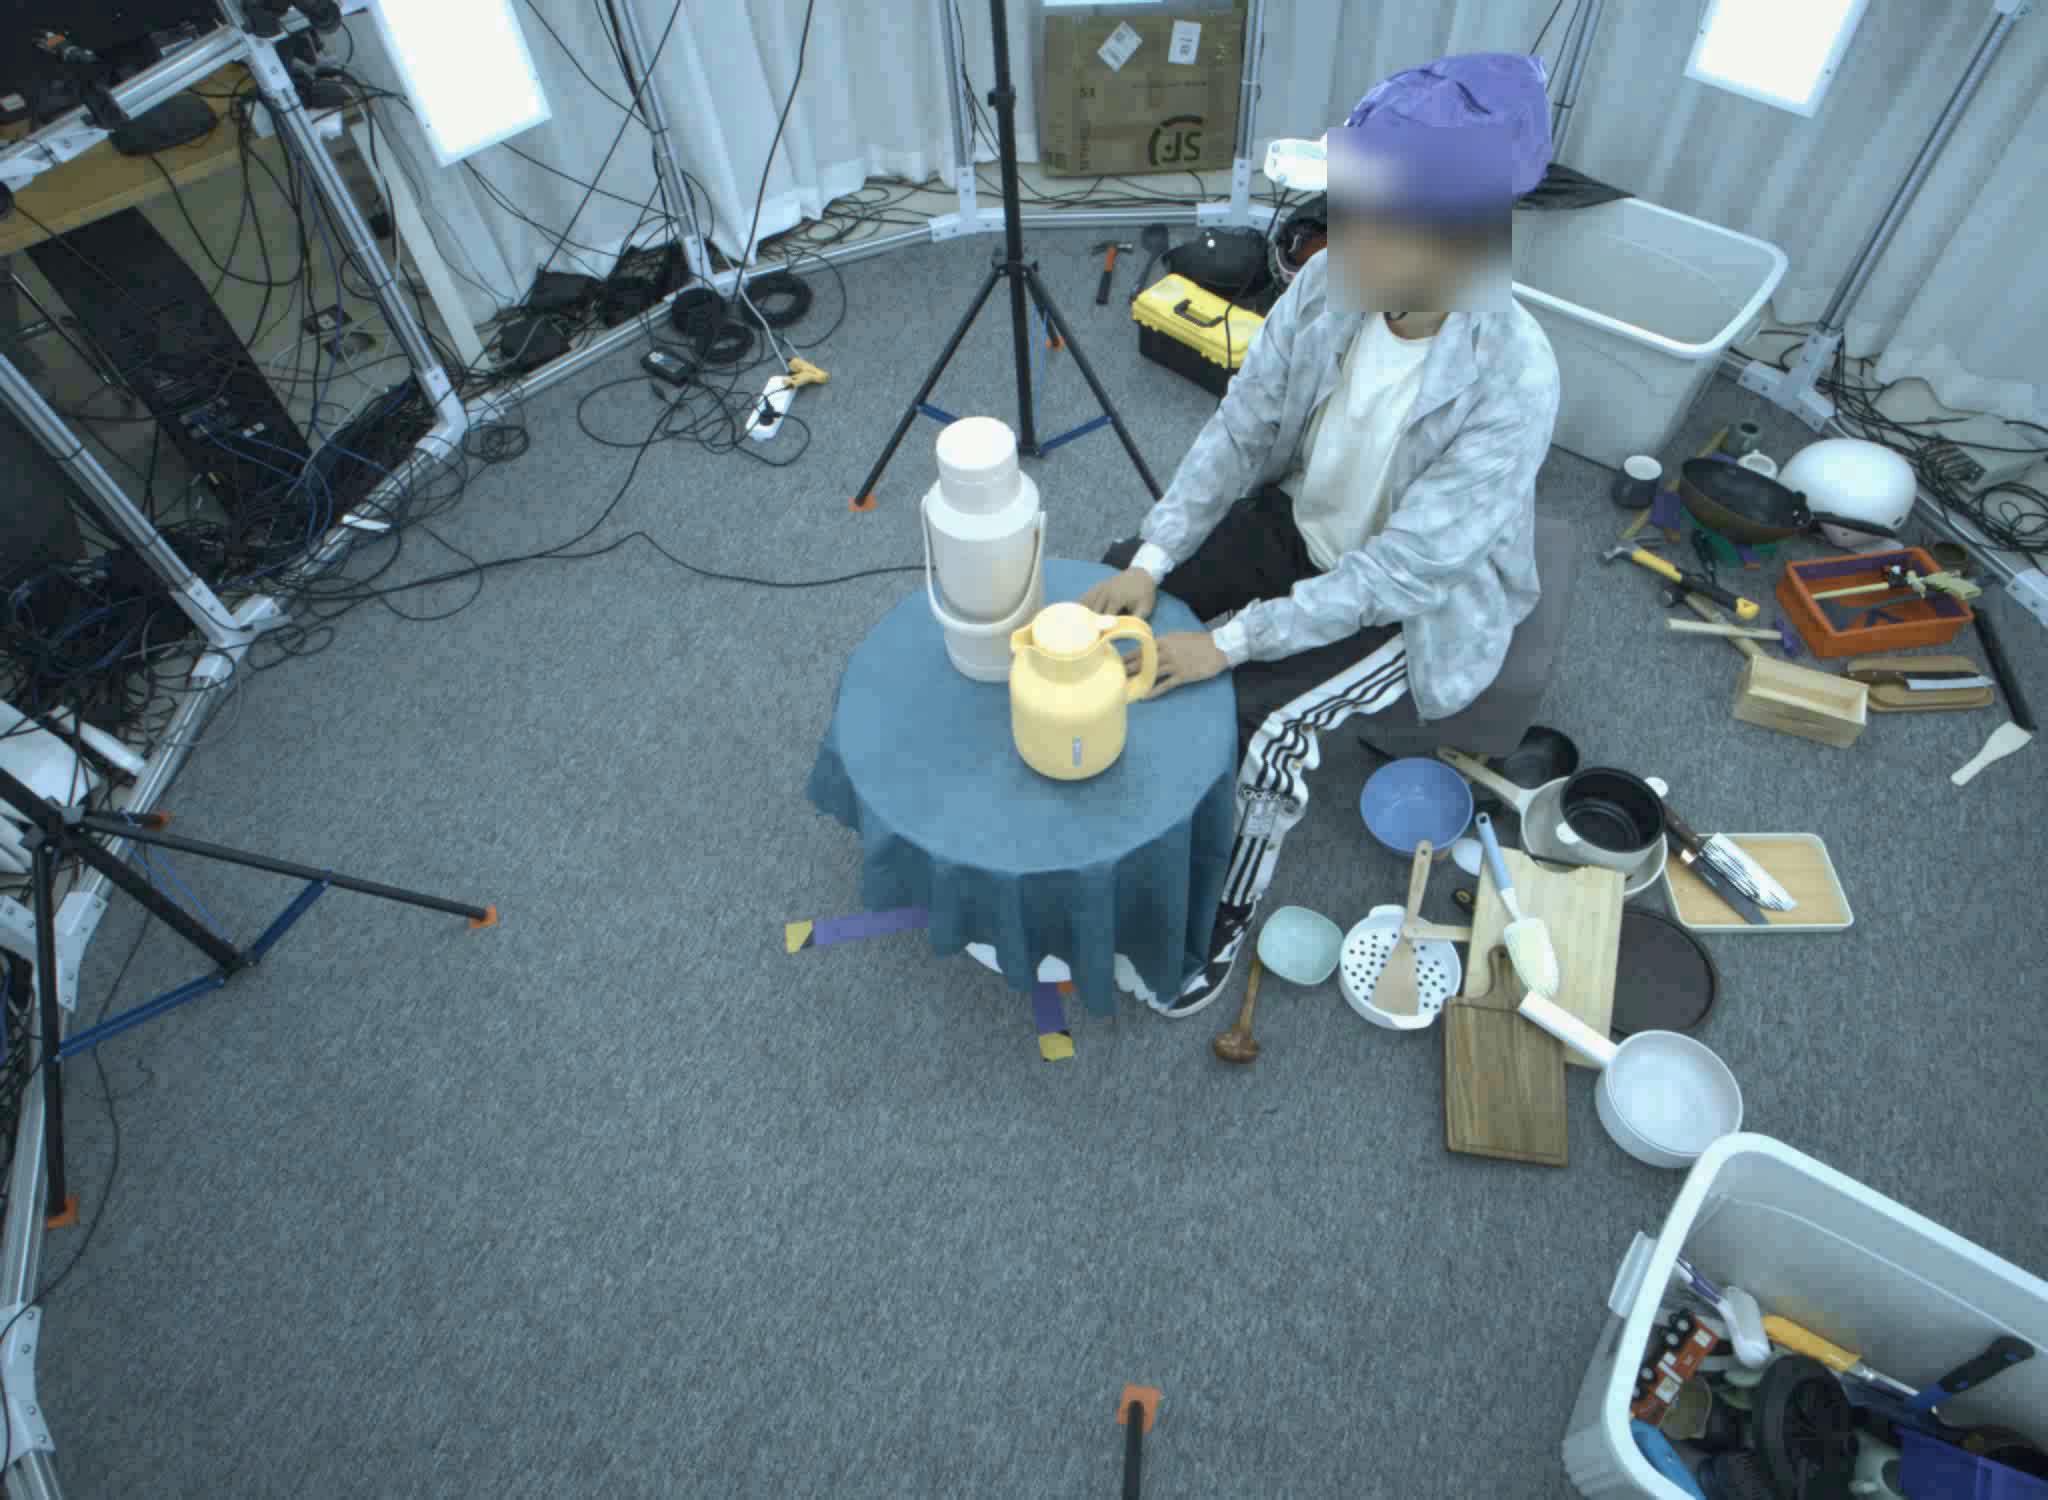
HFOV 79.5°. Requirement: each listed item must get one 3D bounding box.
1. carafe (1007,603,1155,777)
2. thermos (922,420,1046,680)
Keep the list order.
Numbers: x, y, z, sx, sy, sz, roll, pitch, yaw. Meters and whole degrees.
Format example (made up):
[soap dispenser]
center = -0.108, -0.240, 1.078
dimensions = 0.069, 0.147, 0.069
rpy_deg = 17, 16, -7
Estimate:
[carafe]
center = 0.079, -0.090, 1.689
dimensions = 0.203, 0.263, 0.161
rpy_deg = -8, 57, -1
[thermos]
center = -0.047, -0.294, 1.754
dimensions = 0.174, 0.411, 0.206
rpy_deg = 10, 56, 12
